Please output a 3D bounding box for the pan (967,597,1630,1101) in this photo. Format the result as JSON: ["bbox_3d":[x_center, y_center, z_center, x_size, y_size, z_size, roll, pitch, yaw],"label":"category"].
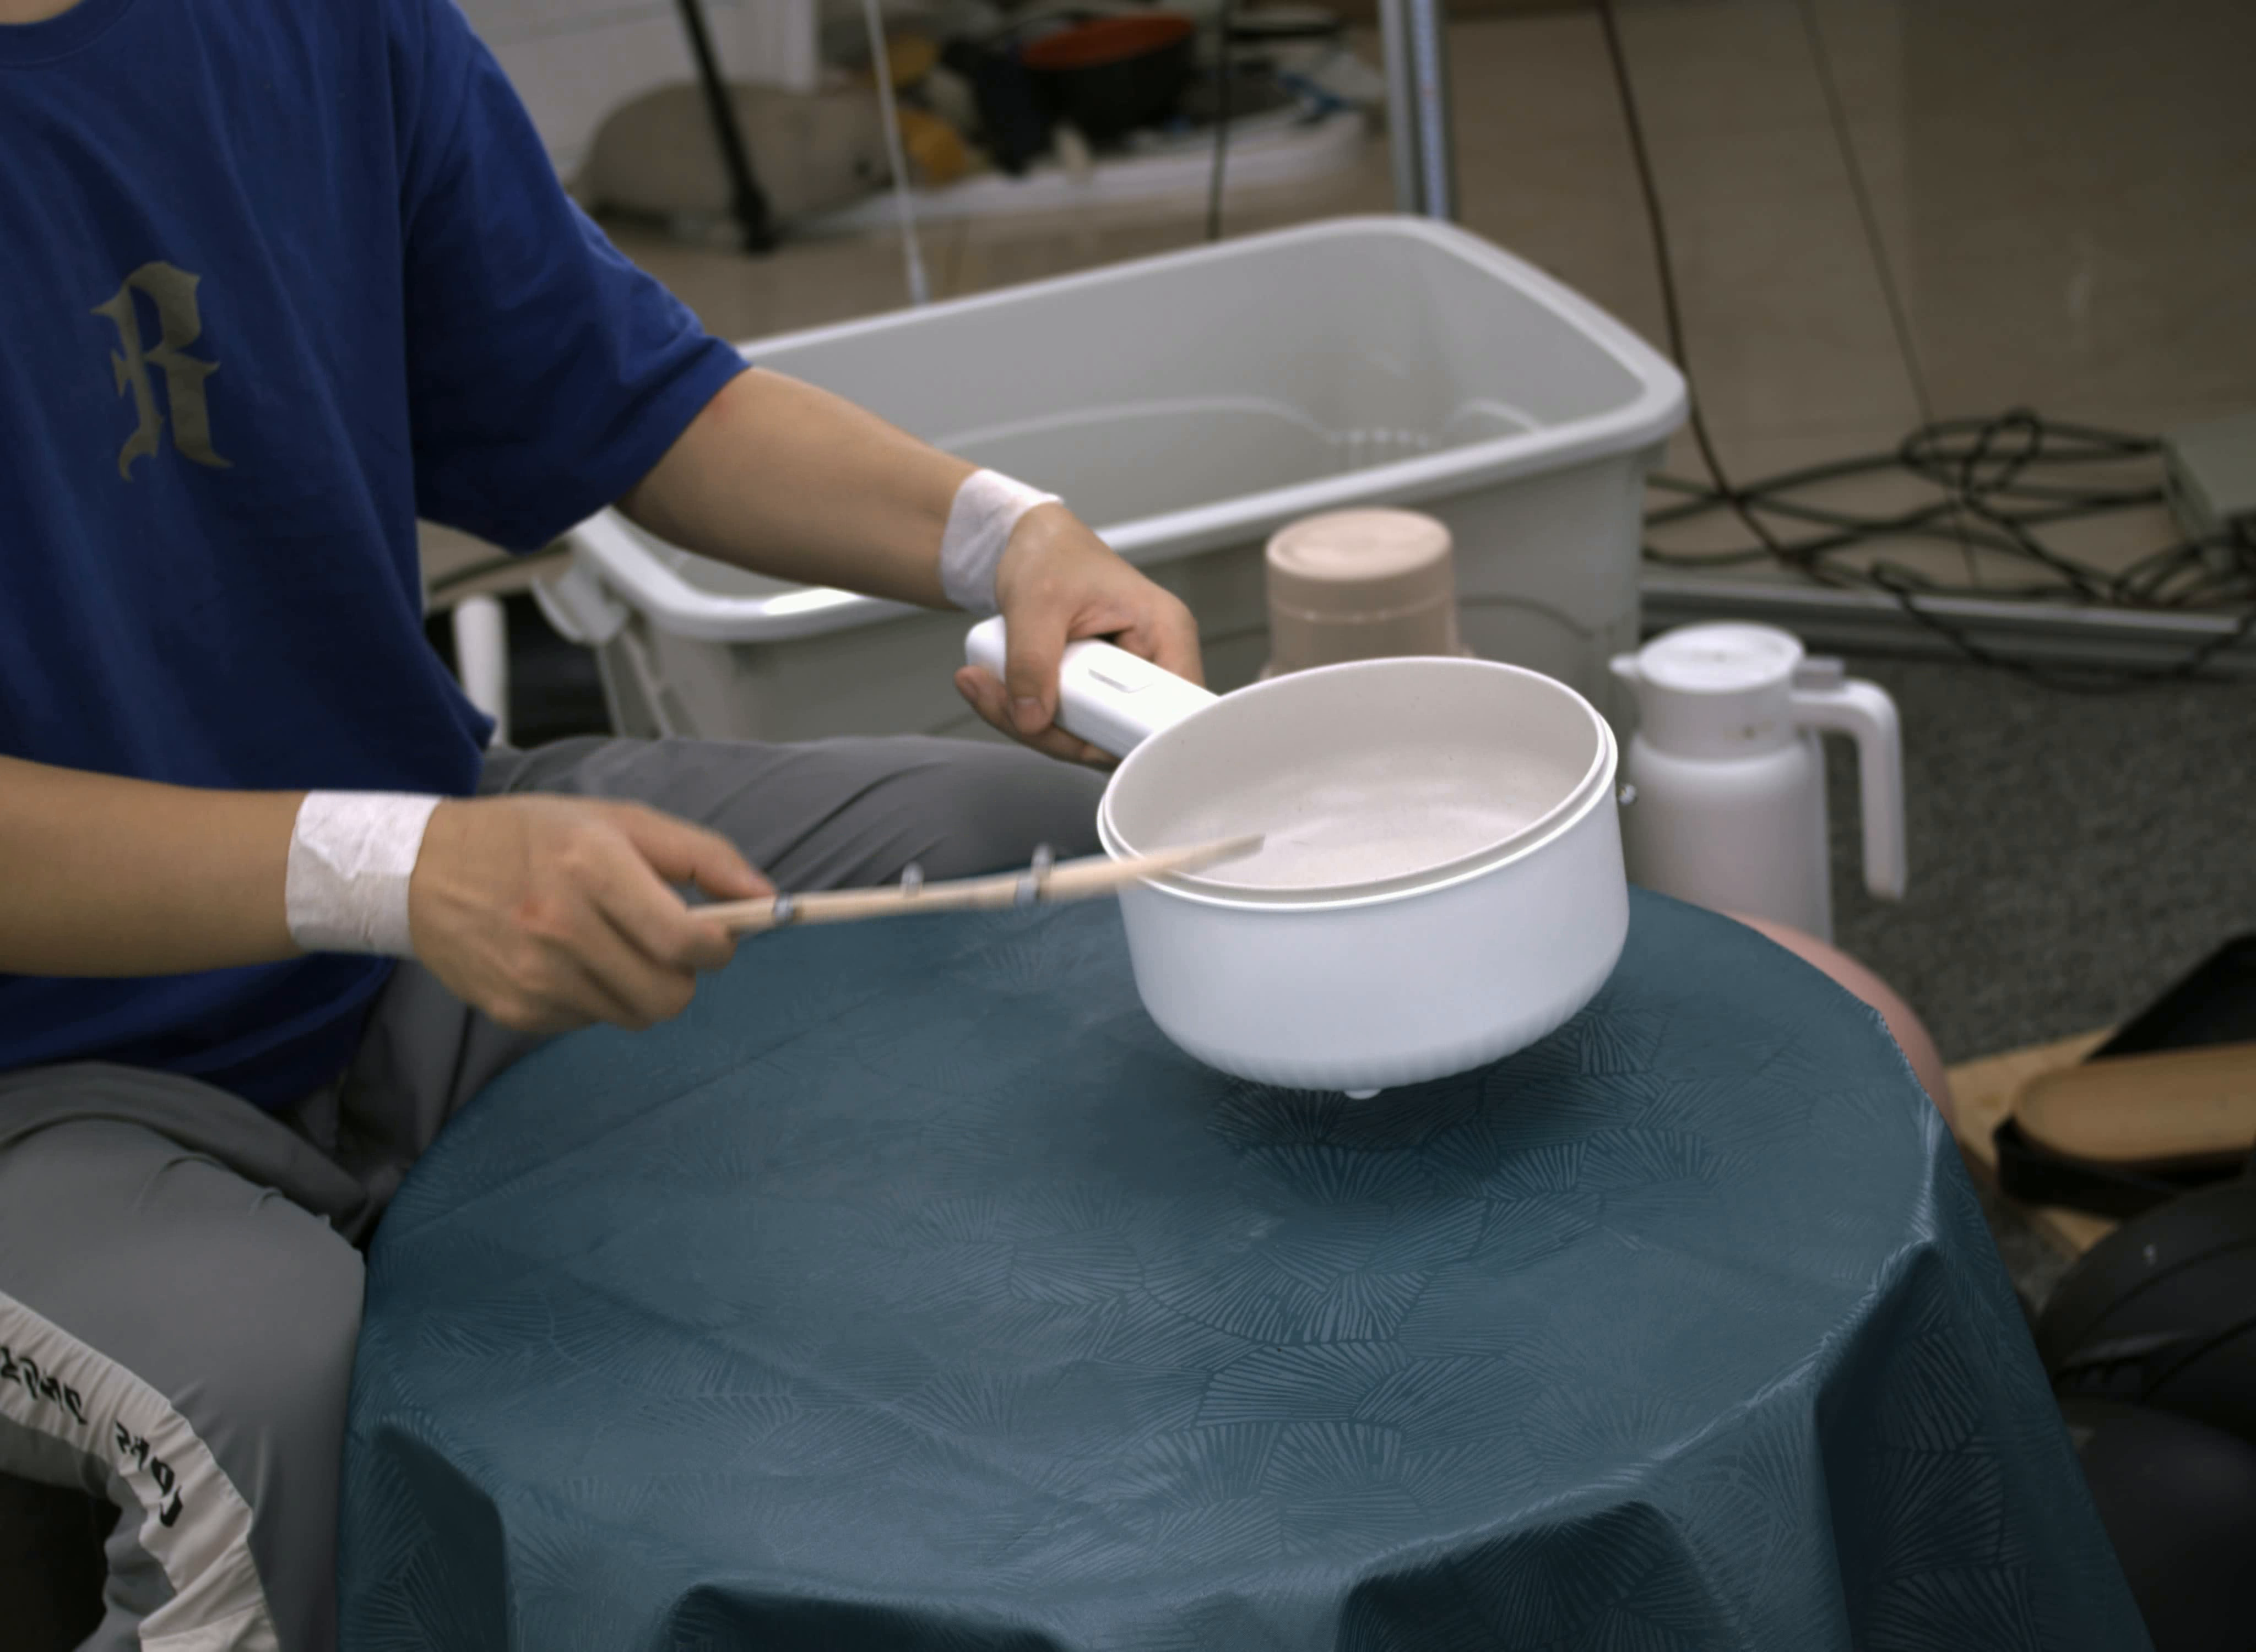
[{"bbox_3d":[0.051,0.001,2.248,0.200,0.104,0.351,-27,31,-26],"label":"pan"}]

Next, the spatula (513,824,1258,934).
[{"bbox_3d":[-0.096,0.021,2.053,0.293,0.011,0.072,-7,2,26],"label":"spatula"}]
